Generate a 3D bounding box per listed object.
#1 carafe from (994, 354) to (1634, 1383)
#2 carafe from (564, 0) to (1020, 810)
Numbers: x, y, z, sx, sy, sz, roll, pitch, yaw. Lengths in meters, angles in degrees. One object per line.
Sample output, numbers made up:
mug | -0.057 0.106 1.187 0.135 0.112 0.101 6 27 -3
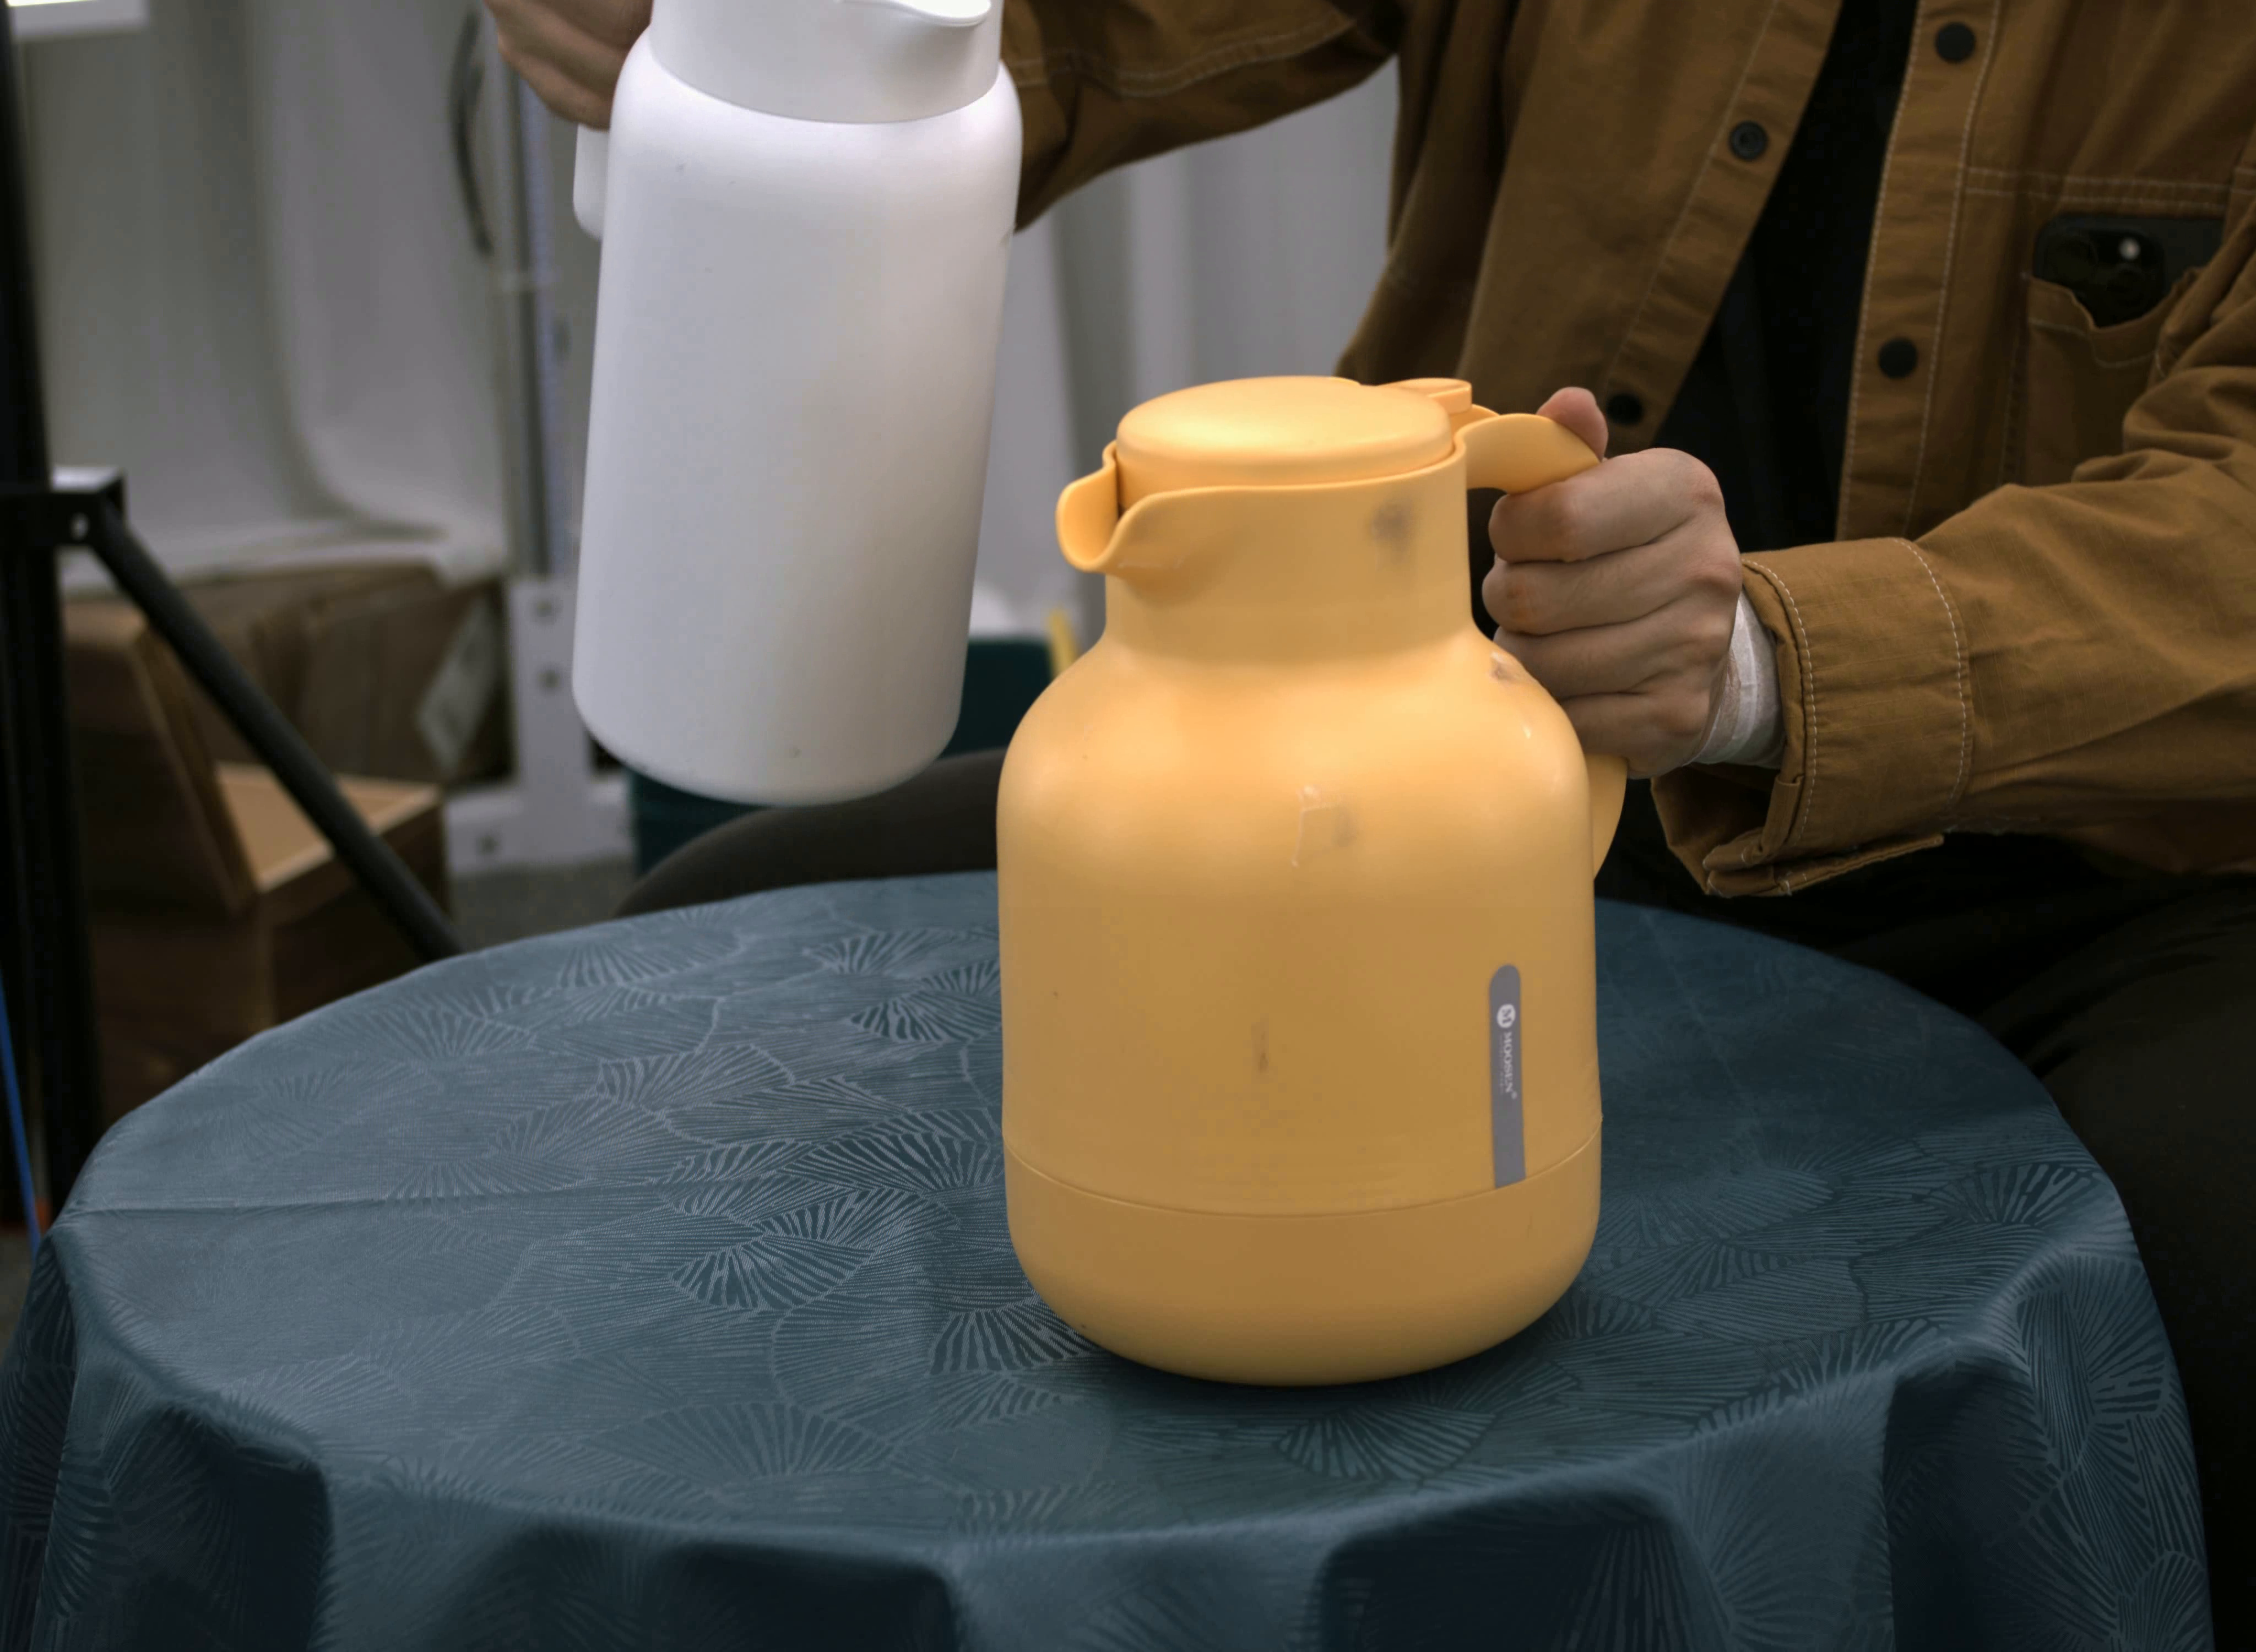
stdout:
carafe | 0.060 0.004 1.430 0.198 0.260 0.167 -16 23 -36
carafe | -0.107 -0.153 1.554 0.121 0.268 0.177 -15 36 -32
